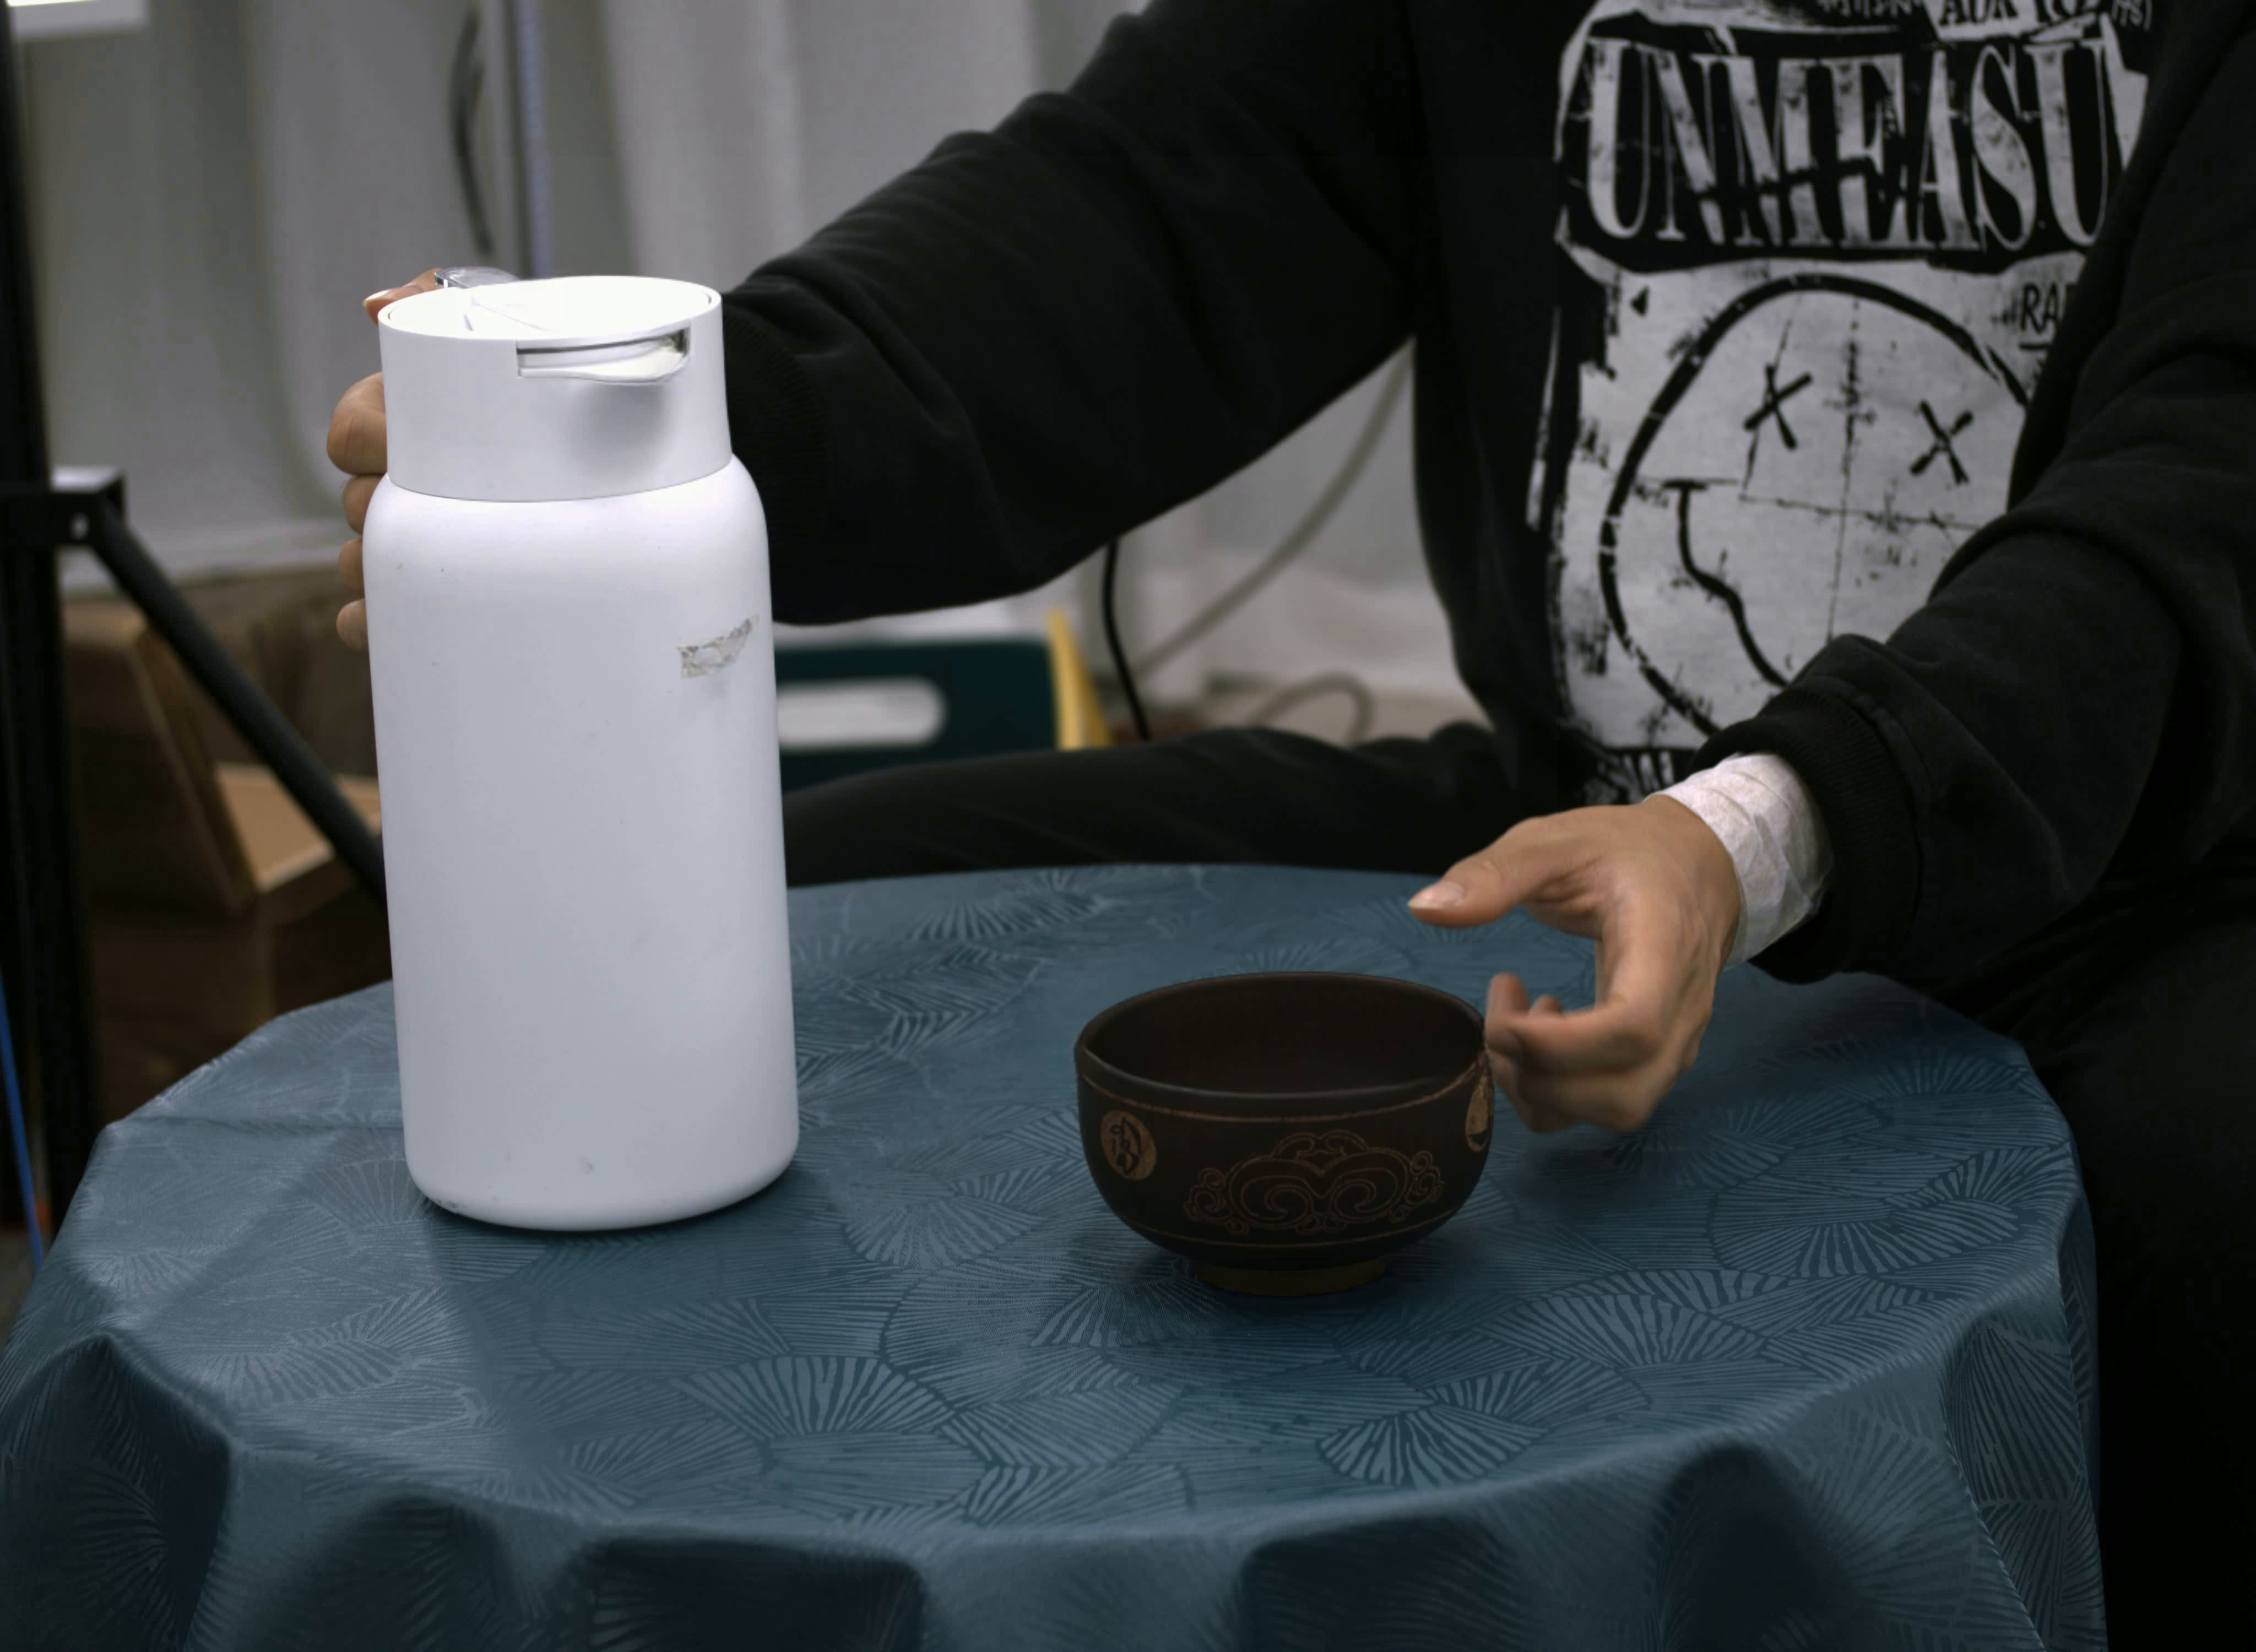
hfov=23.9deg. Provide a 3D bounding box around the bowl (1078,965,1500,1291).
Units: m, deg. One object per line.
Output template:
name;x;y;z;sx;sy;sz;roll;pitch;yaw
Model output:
bowl;0.046;0.088;1.482;0.117;0.070;0.118;-3;15;-1

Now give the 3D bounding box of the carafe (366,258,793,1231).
carafe;-0.170;-0.027;1.573;0.121;0.269;0.176;-11;18;-26
